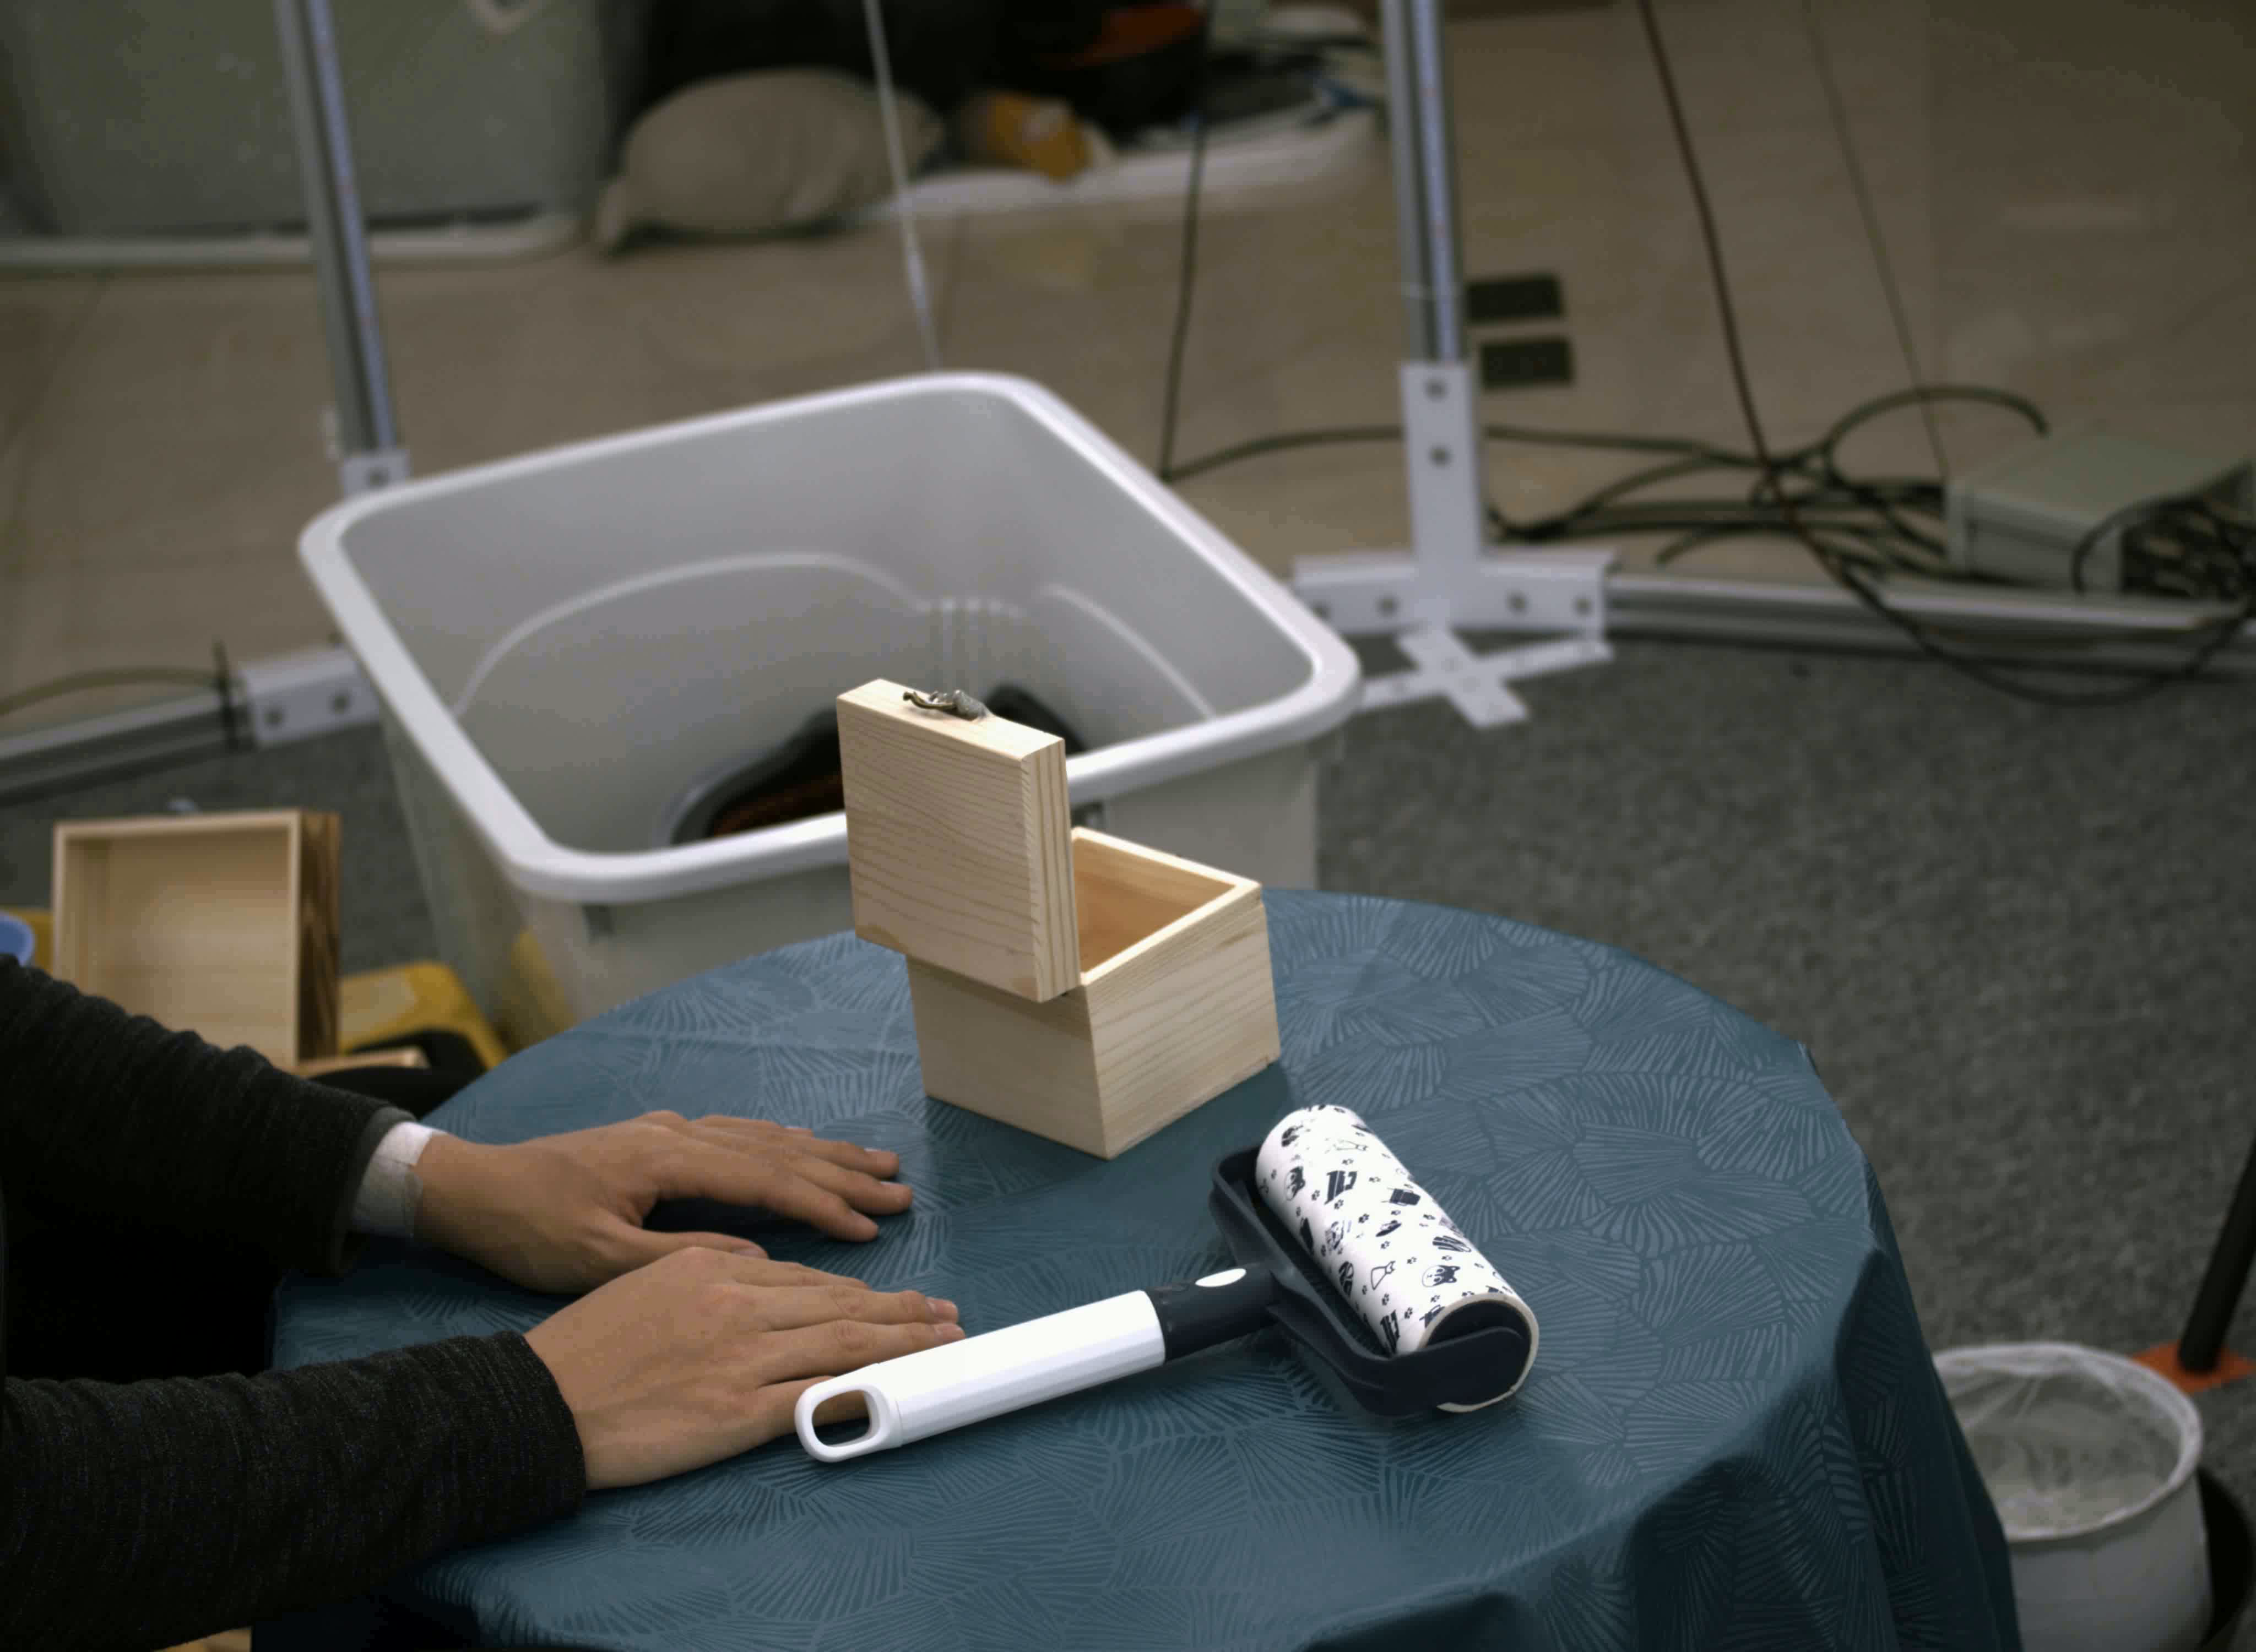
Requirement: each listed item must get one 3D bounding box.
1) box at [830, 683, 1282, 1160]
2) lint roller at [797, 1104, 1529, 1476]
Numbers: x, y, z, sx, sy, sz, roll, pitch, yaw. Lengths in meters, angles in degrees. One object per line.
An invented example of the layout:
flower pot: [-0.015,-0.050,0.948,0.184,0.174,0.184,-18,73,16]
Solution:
box: [-0.026,0.021,2.189,0.102,0.187,0.132,17,35,41]
lint roller: [0.000,0.179,2.012,0.246,0.051,0.174,-15,27,-15]
